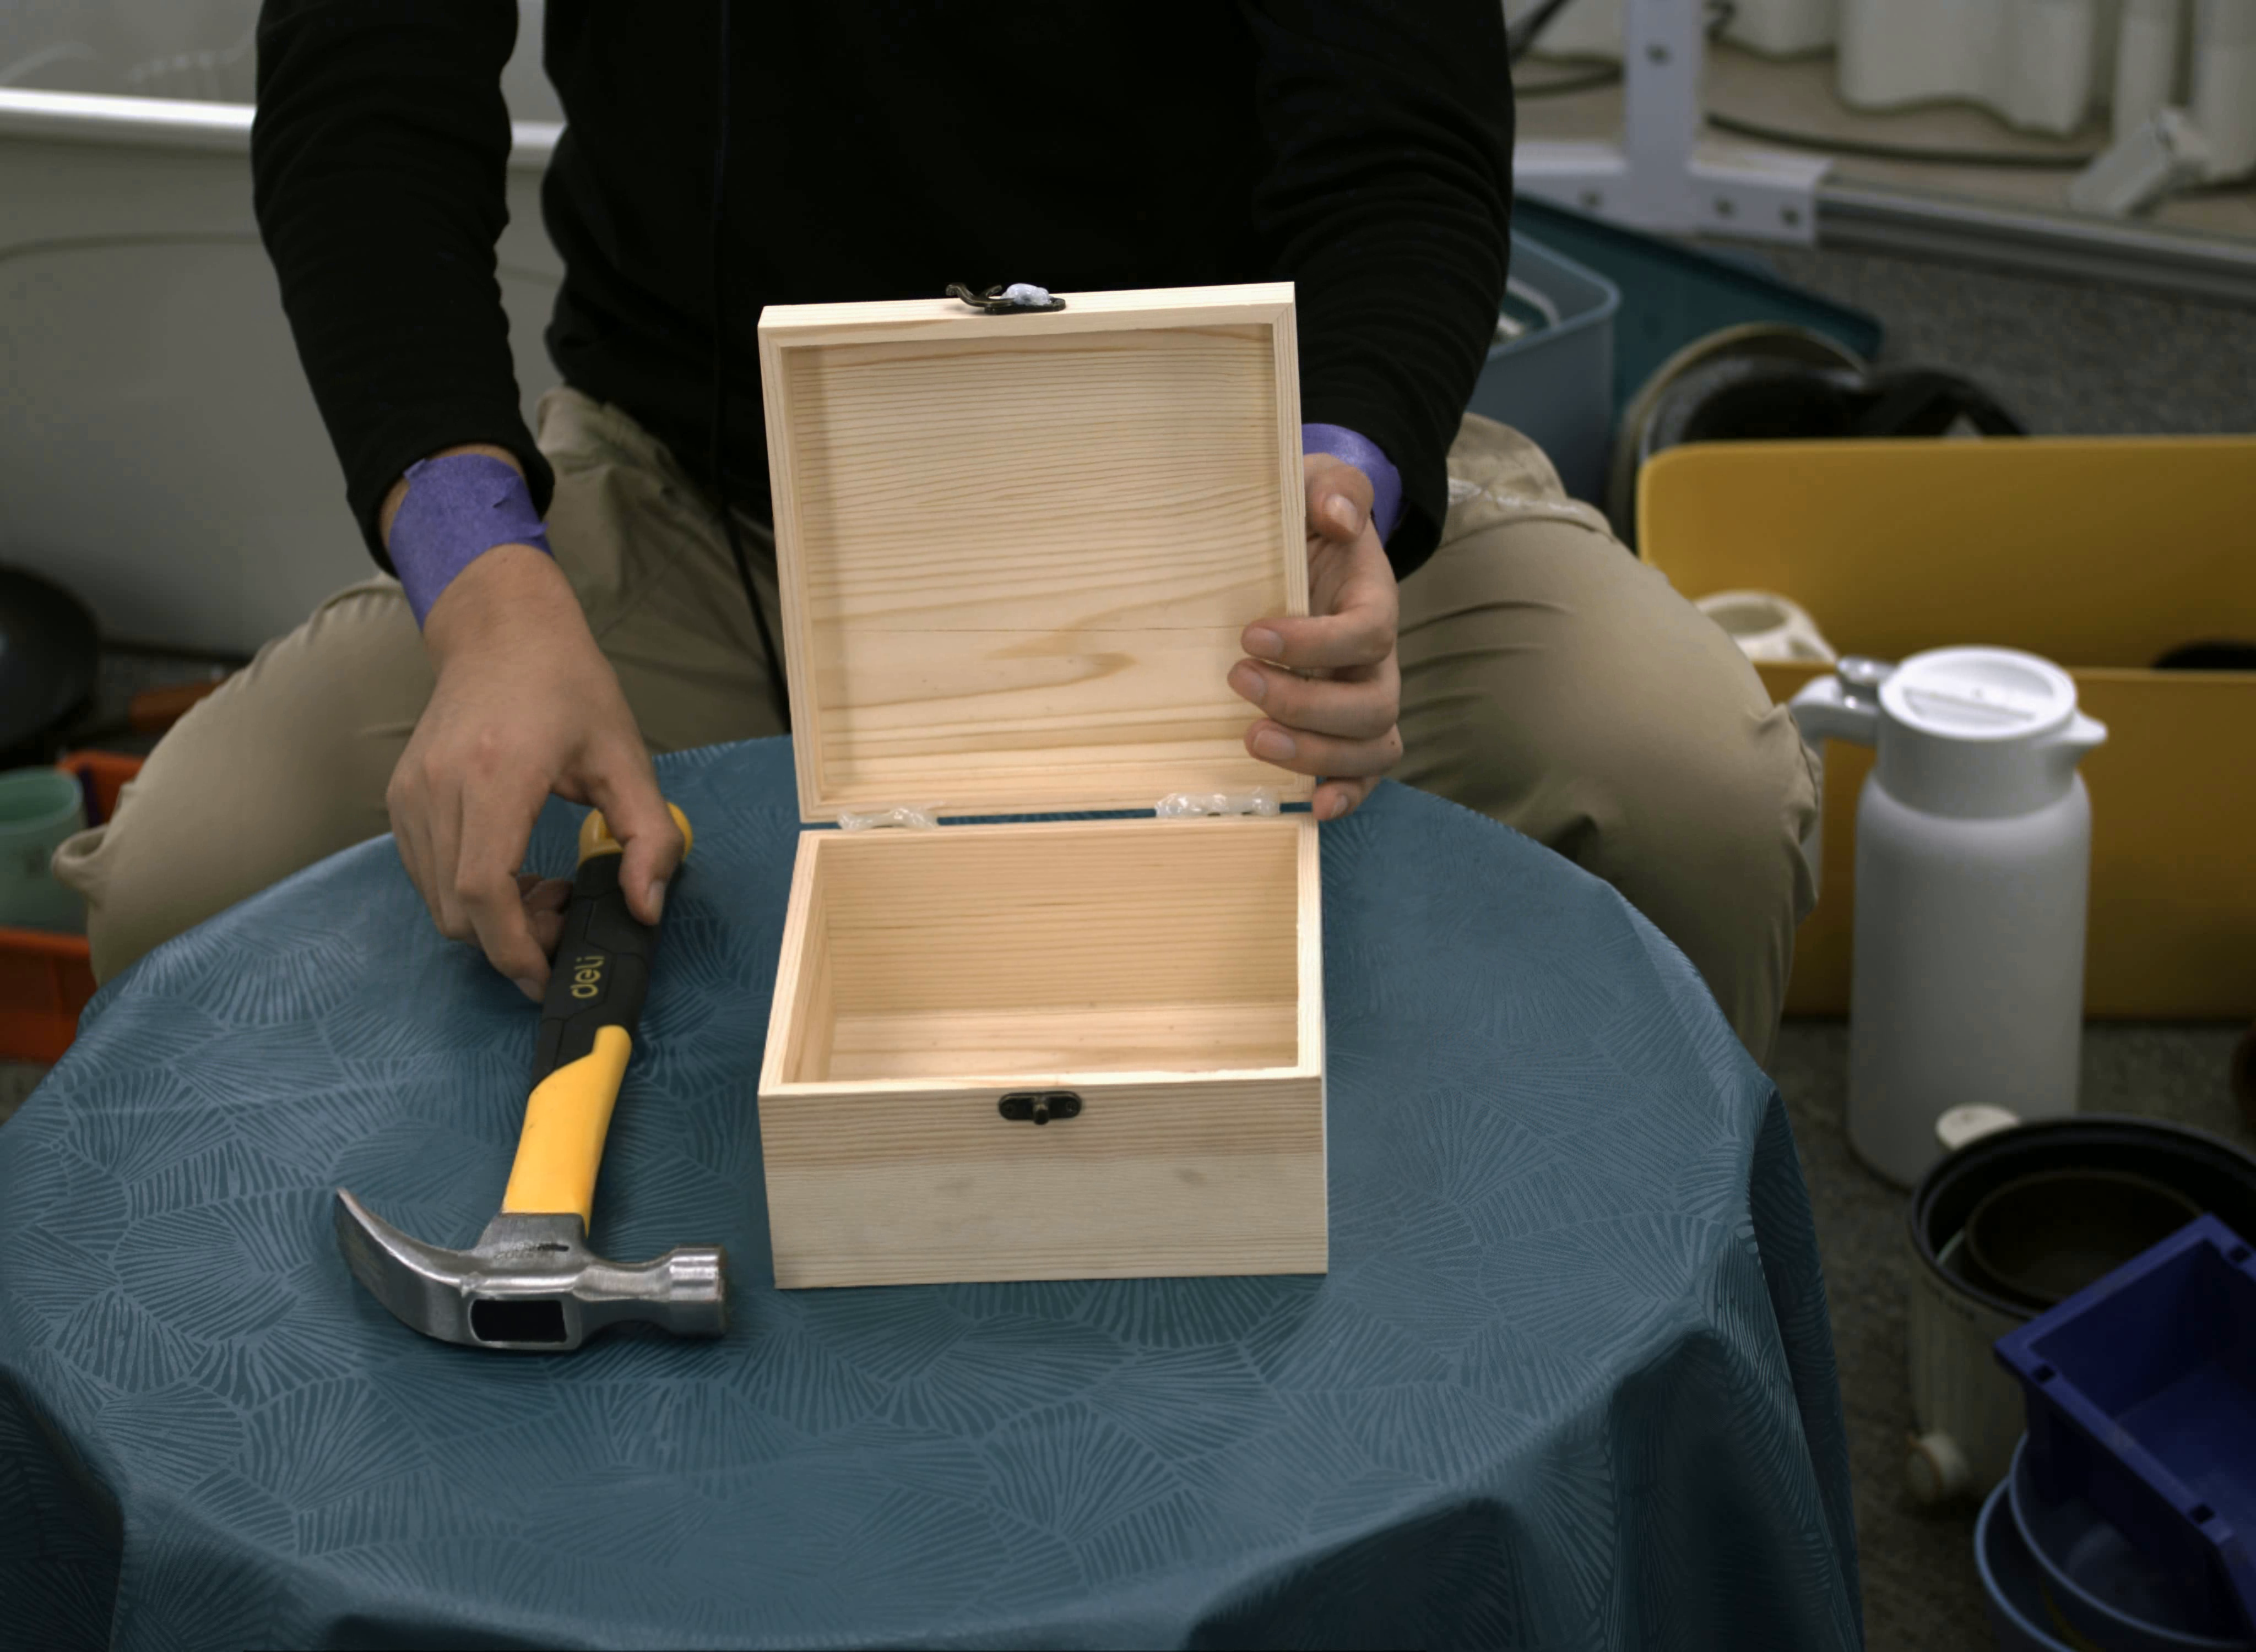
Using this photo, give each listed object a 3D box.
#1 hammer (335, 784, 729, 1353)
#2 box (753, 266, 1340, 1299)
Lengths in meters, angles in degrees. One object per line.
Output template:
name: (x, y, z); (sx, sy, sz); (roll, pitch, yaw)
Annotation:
hammer: (-0.187, 0.075, 1.926); (0.131, 0.032, 0.344); (-1, 29, 3)
box: (-0.029, -0.020, 1.867); (0.181, 0.250, 0.269); (-4, 27, 2)
